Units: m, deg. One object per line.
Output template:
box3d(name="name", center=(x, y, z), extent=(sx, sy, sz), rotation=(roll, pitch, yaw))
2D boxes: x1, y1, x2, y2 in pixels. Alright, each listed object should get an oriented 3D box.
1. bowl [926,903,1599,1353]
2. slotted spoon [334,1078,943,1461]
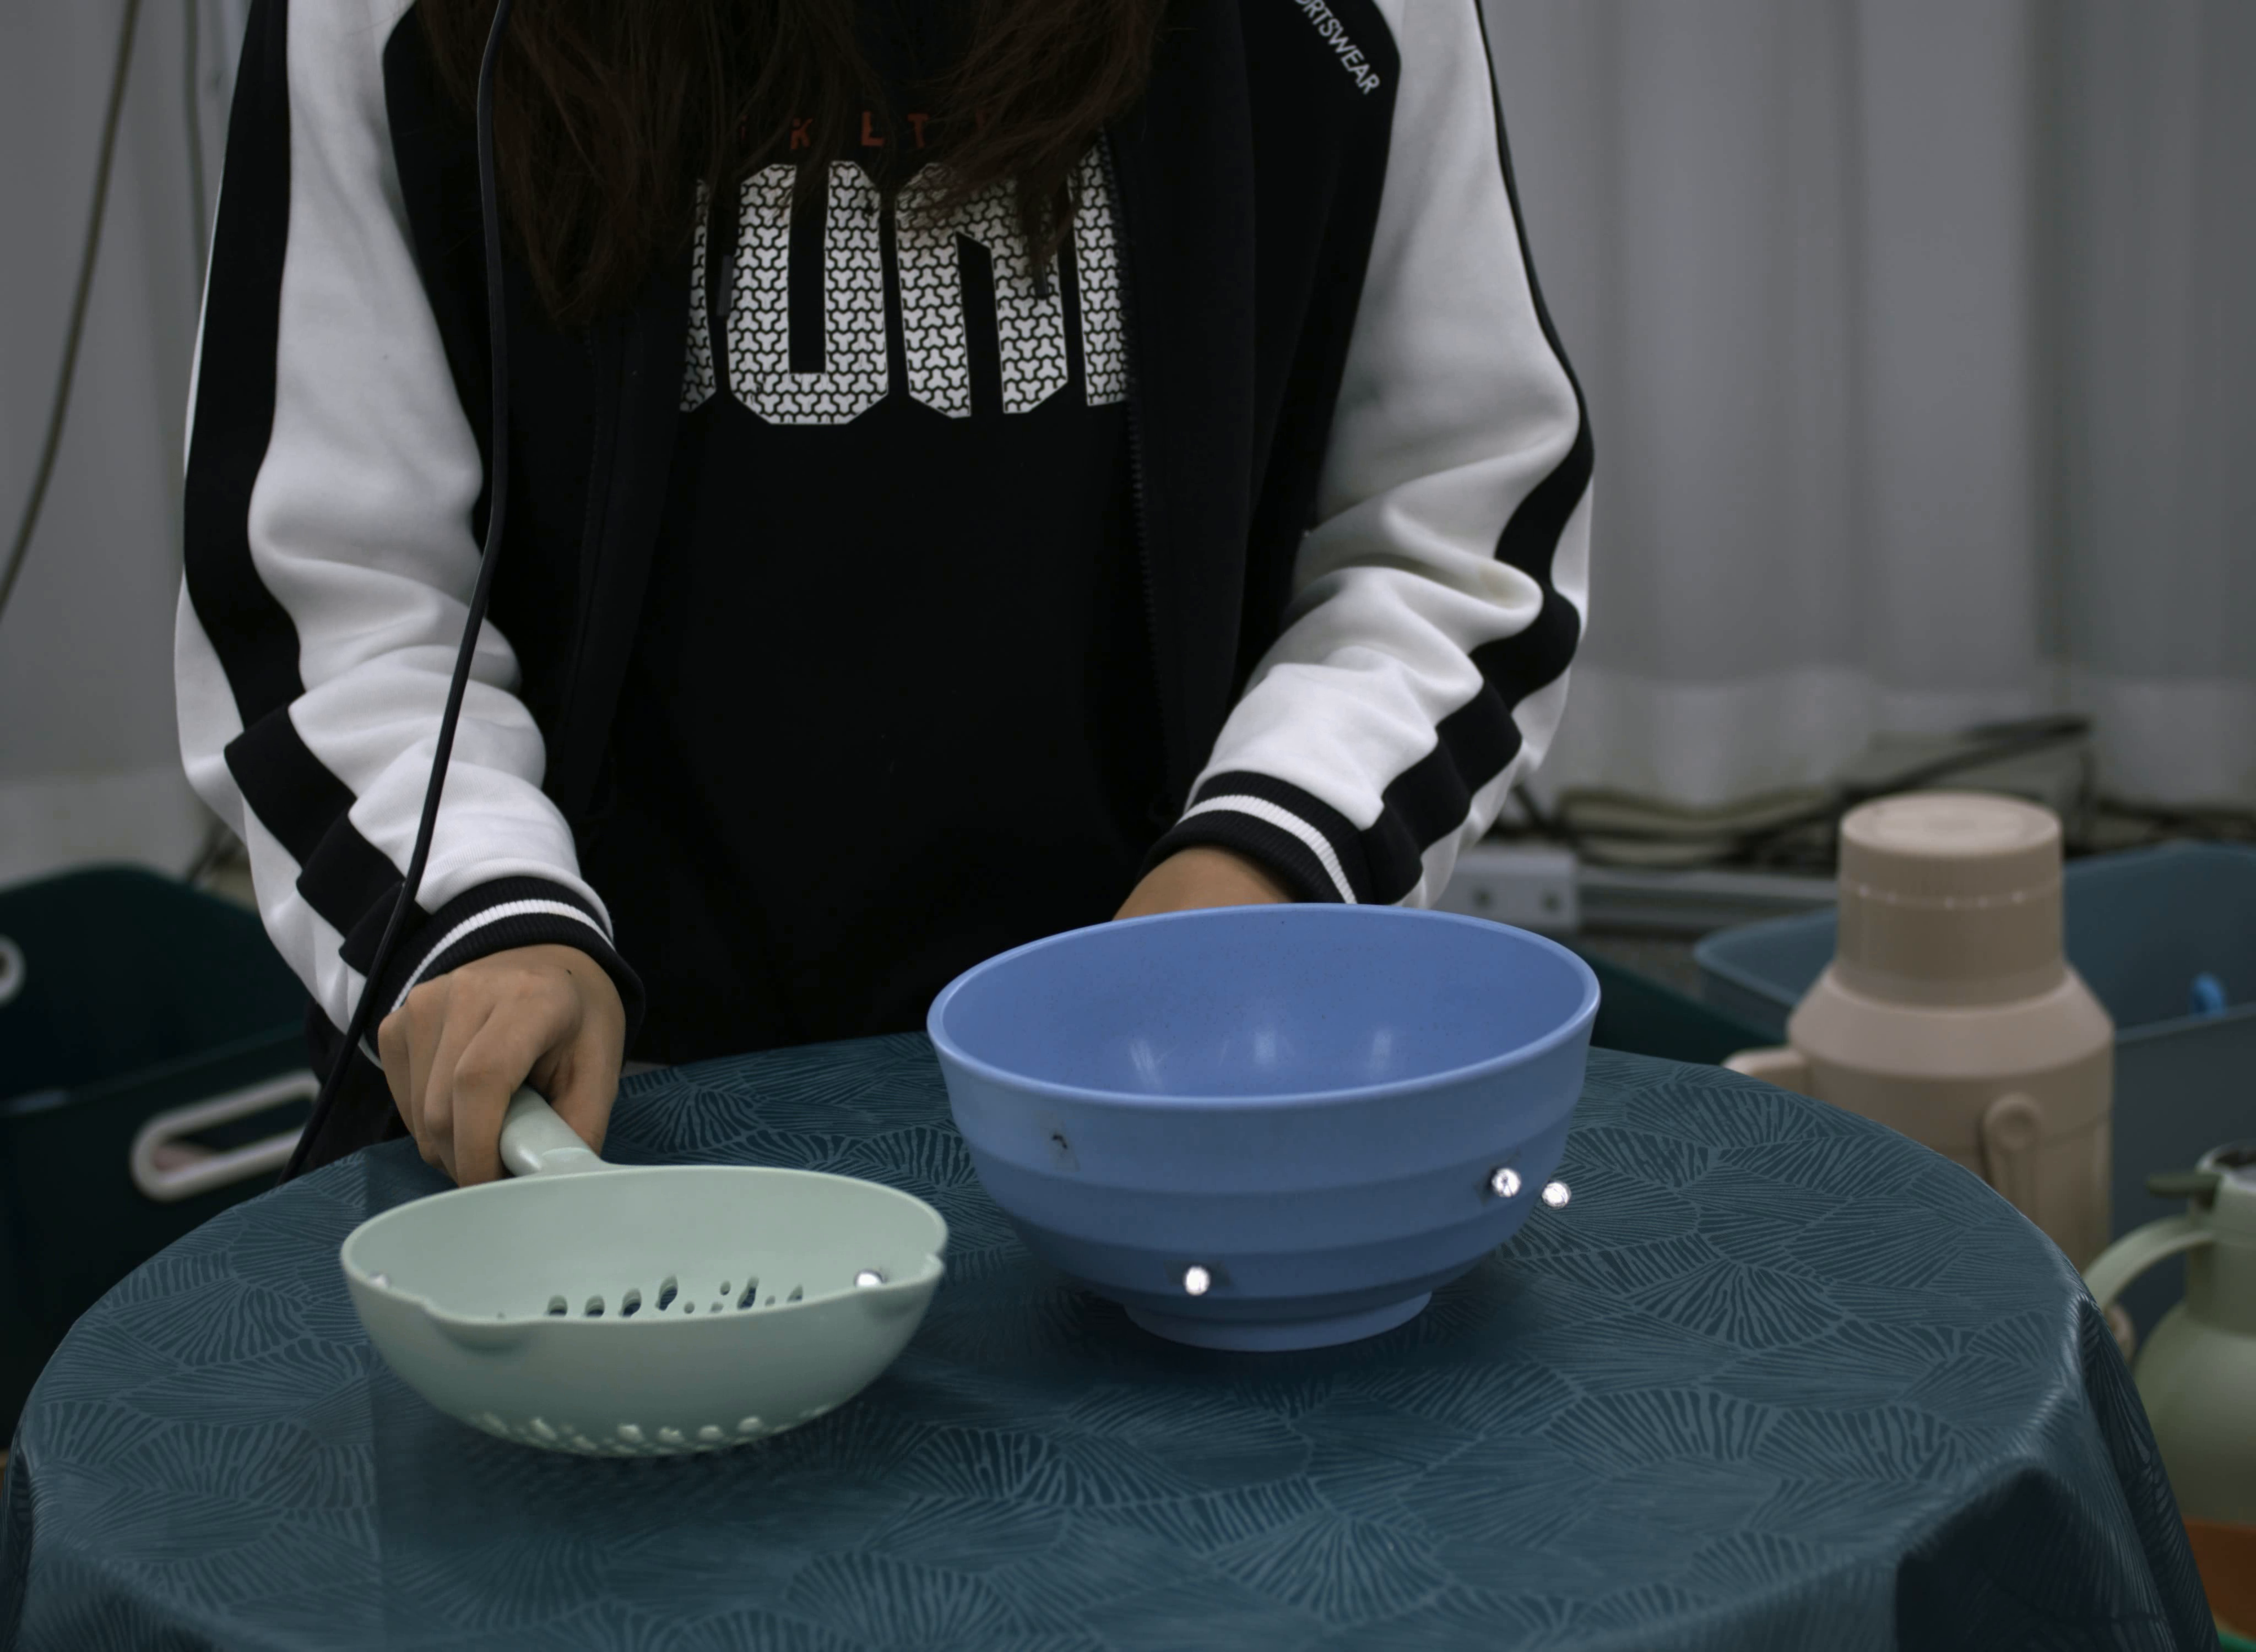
box3d(name="bowl", center=(0.041, 0.094, 1.600), extent=(0.196, 0.095, 0.198), rotation=(-3, 15, 1))
box3d(name="slotted spoon", center=(-0.162, 0.114, 1.614), extent=(0.168, 0.075, 0.362), rotation=(-5, 17, -16))
